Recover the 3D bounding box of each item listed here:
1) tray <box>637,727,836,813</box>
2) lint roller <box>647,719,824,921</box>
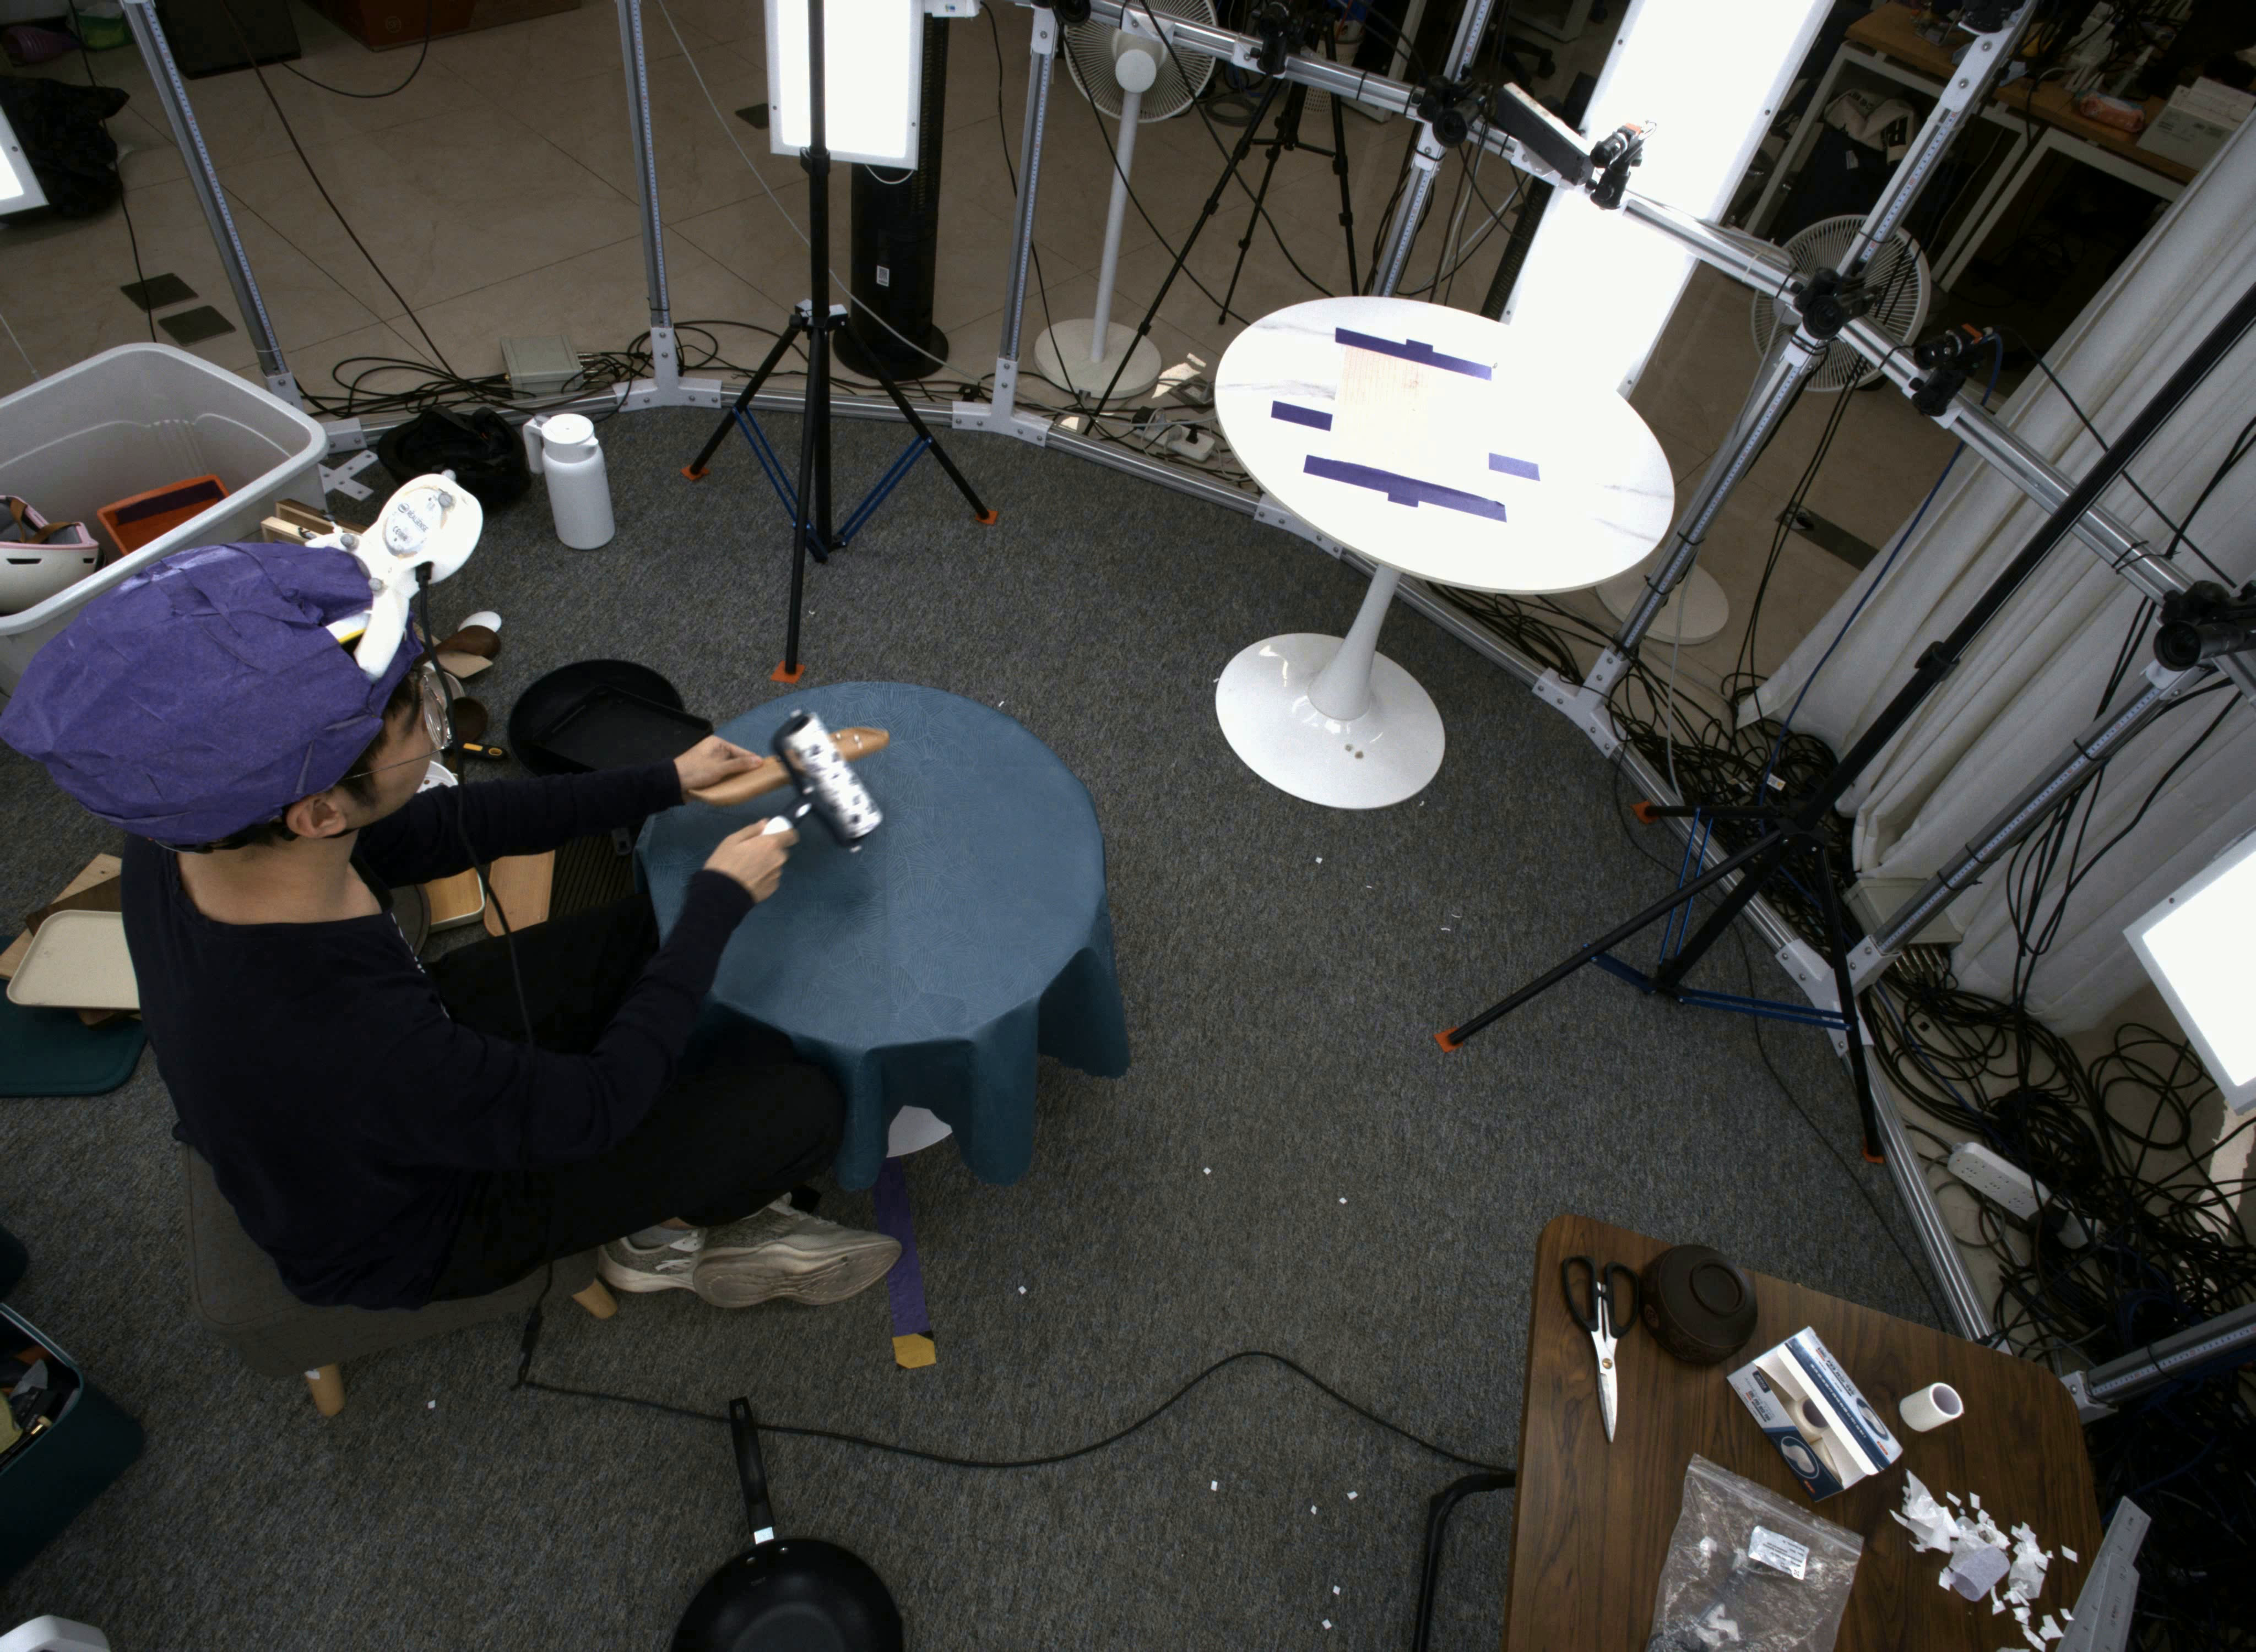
[{"bbox_3d":[-0.493,-0.074,1.632,0.252,0.126,0.023,-29,109,-33],"label":"tray"},{"bbox_3d":[-0.476,0.018,1.520,0.049,0.183,0.246,1,45,36],"label":"lint roller"}]
